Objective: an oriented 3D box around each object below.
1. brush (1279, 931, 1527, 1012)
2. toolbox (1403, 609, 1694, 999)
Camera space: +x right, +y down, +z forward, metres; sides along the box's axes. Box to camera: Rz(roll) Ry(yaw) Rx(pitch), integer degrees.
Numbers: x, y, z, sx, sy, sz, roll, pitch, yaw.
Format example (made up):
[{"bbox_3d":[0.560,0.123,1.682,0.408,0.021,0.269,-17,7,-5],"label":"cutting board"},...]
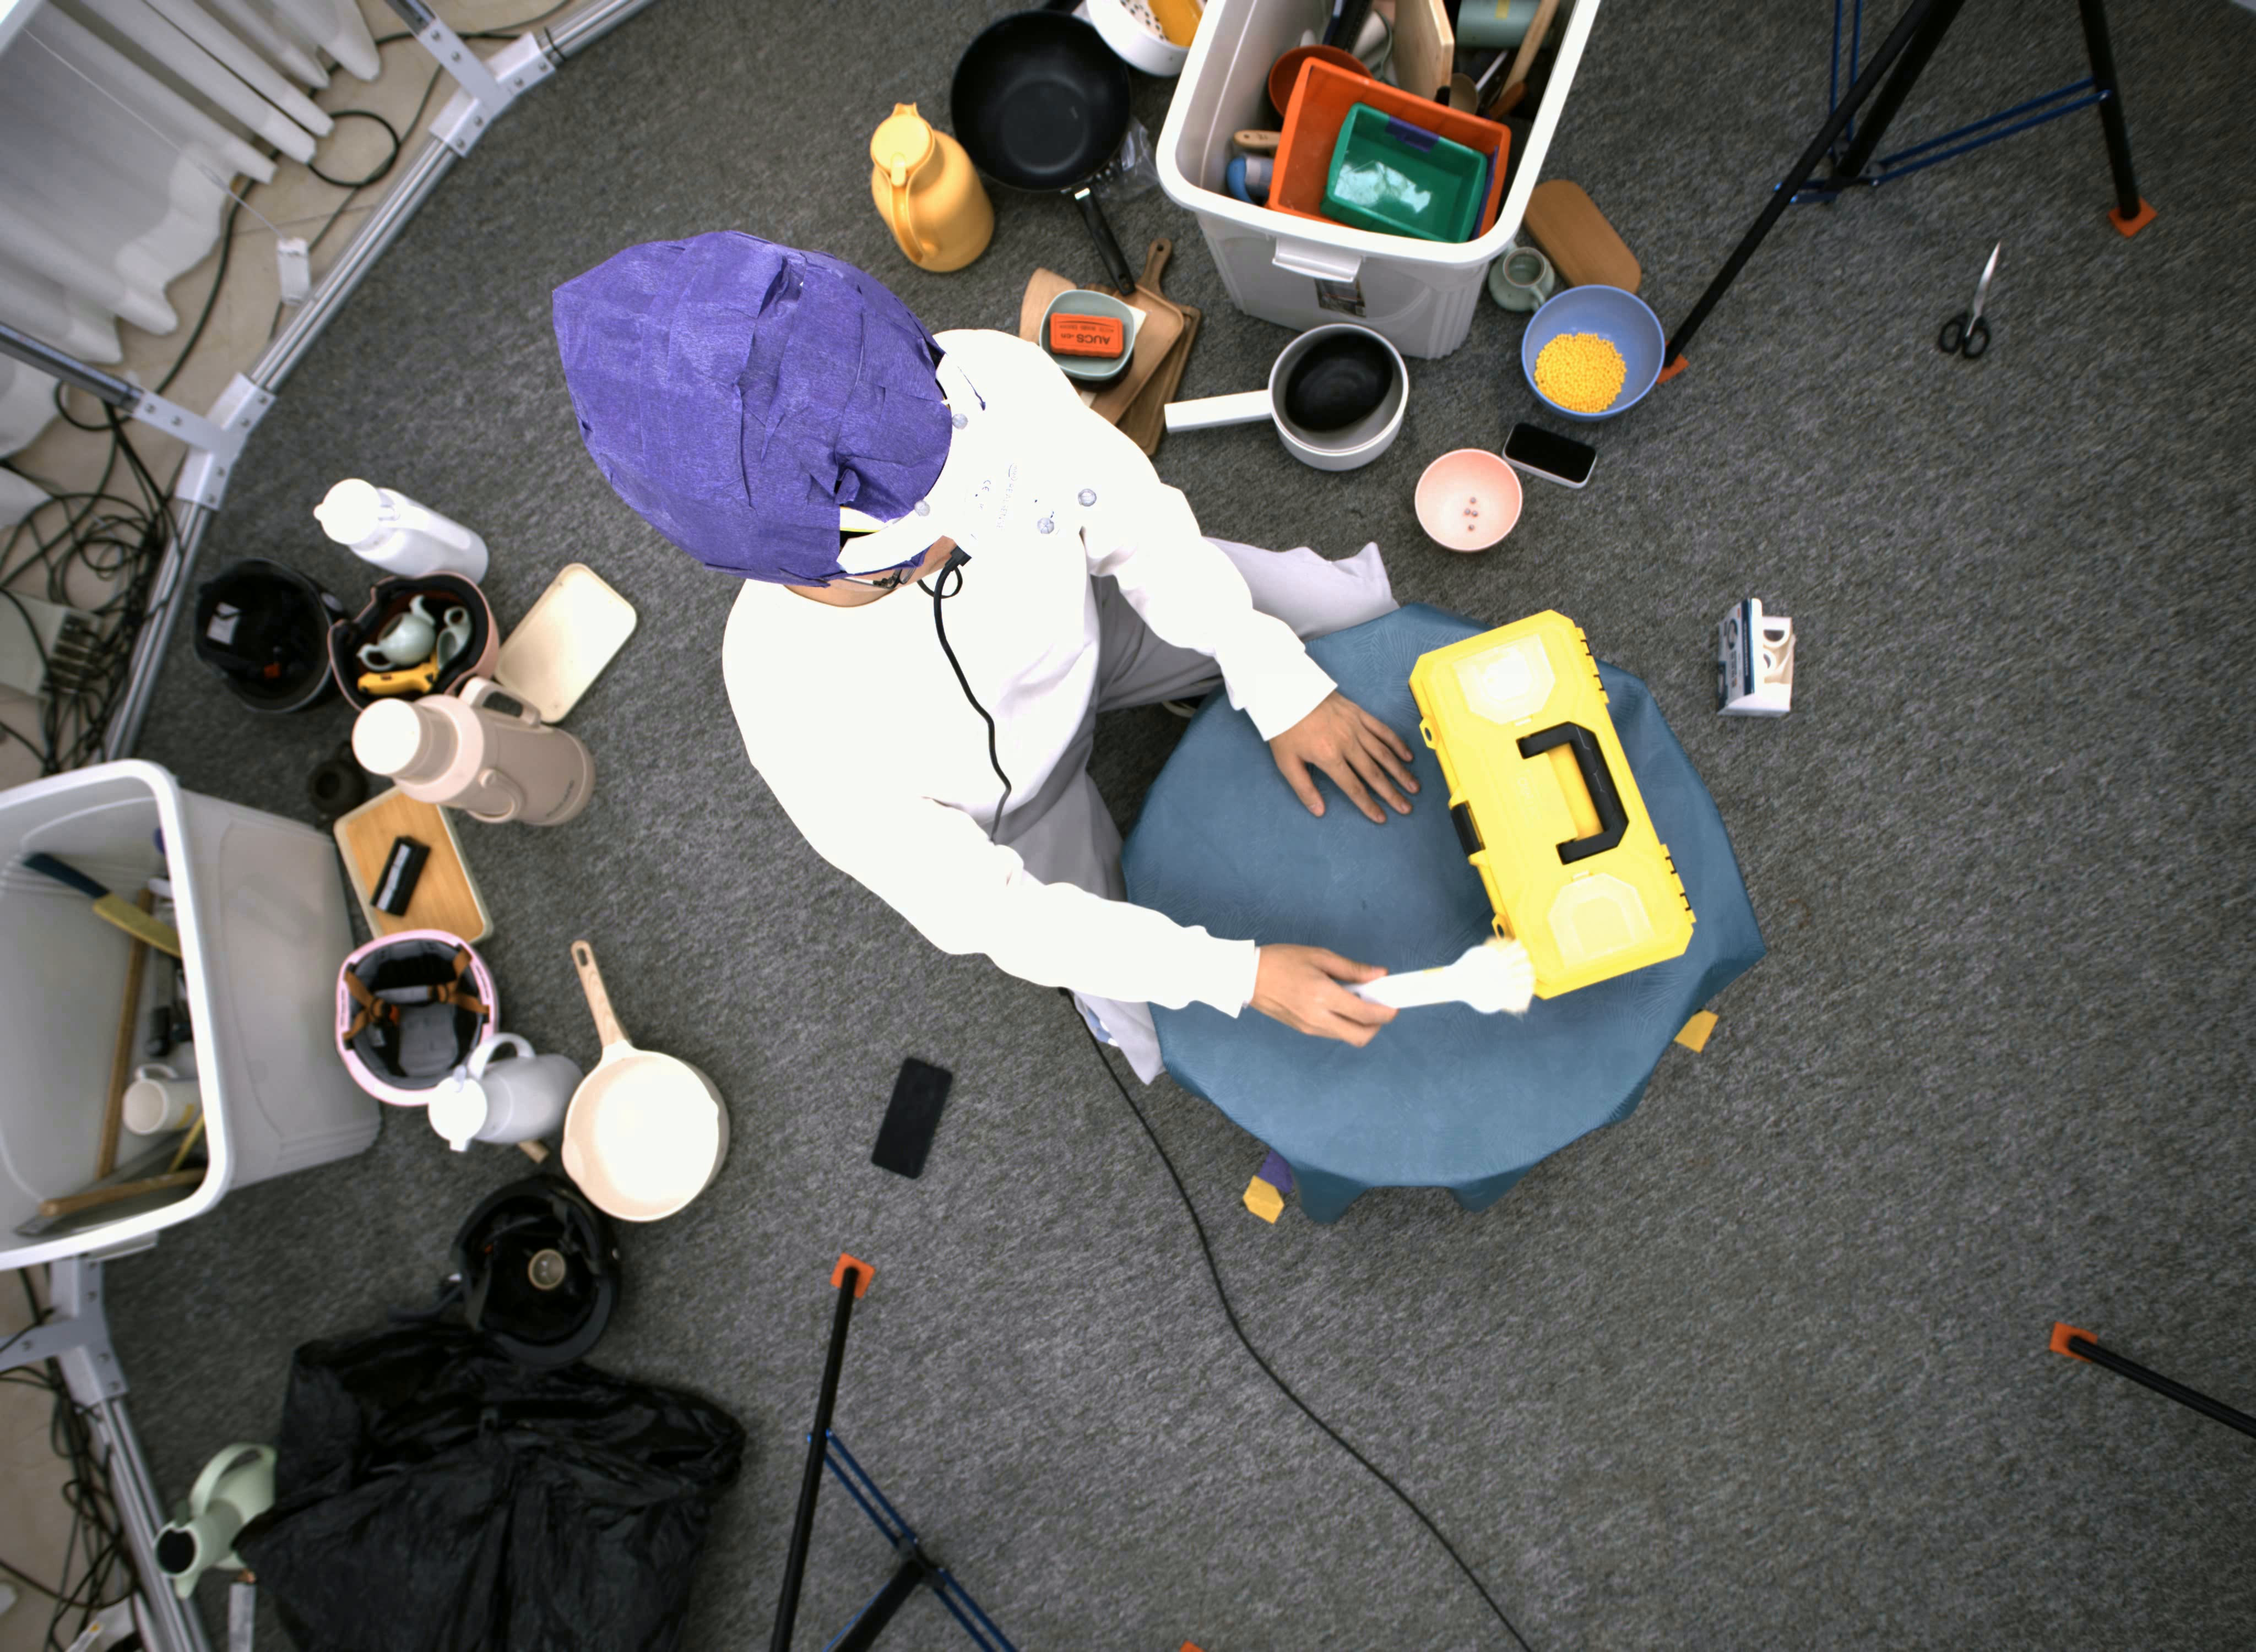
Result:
[{"bbox_3d":[0.266,0.149,1.345,0.270,0.056,0.067,-17,70,44],"label":"brush"},{"bbox_3d":[0.406,-0.019,1.351,0.182,0.173,0.349,-19,82,7],"label":"toolbox"}]
